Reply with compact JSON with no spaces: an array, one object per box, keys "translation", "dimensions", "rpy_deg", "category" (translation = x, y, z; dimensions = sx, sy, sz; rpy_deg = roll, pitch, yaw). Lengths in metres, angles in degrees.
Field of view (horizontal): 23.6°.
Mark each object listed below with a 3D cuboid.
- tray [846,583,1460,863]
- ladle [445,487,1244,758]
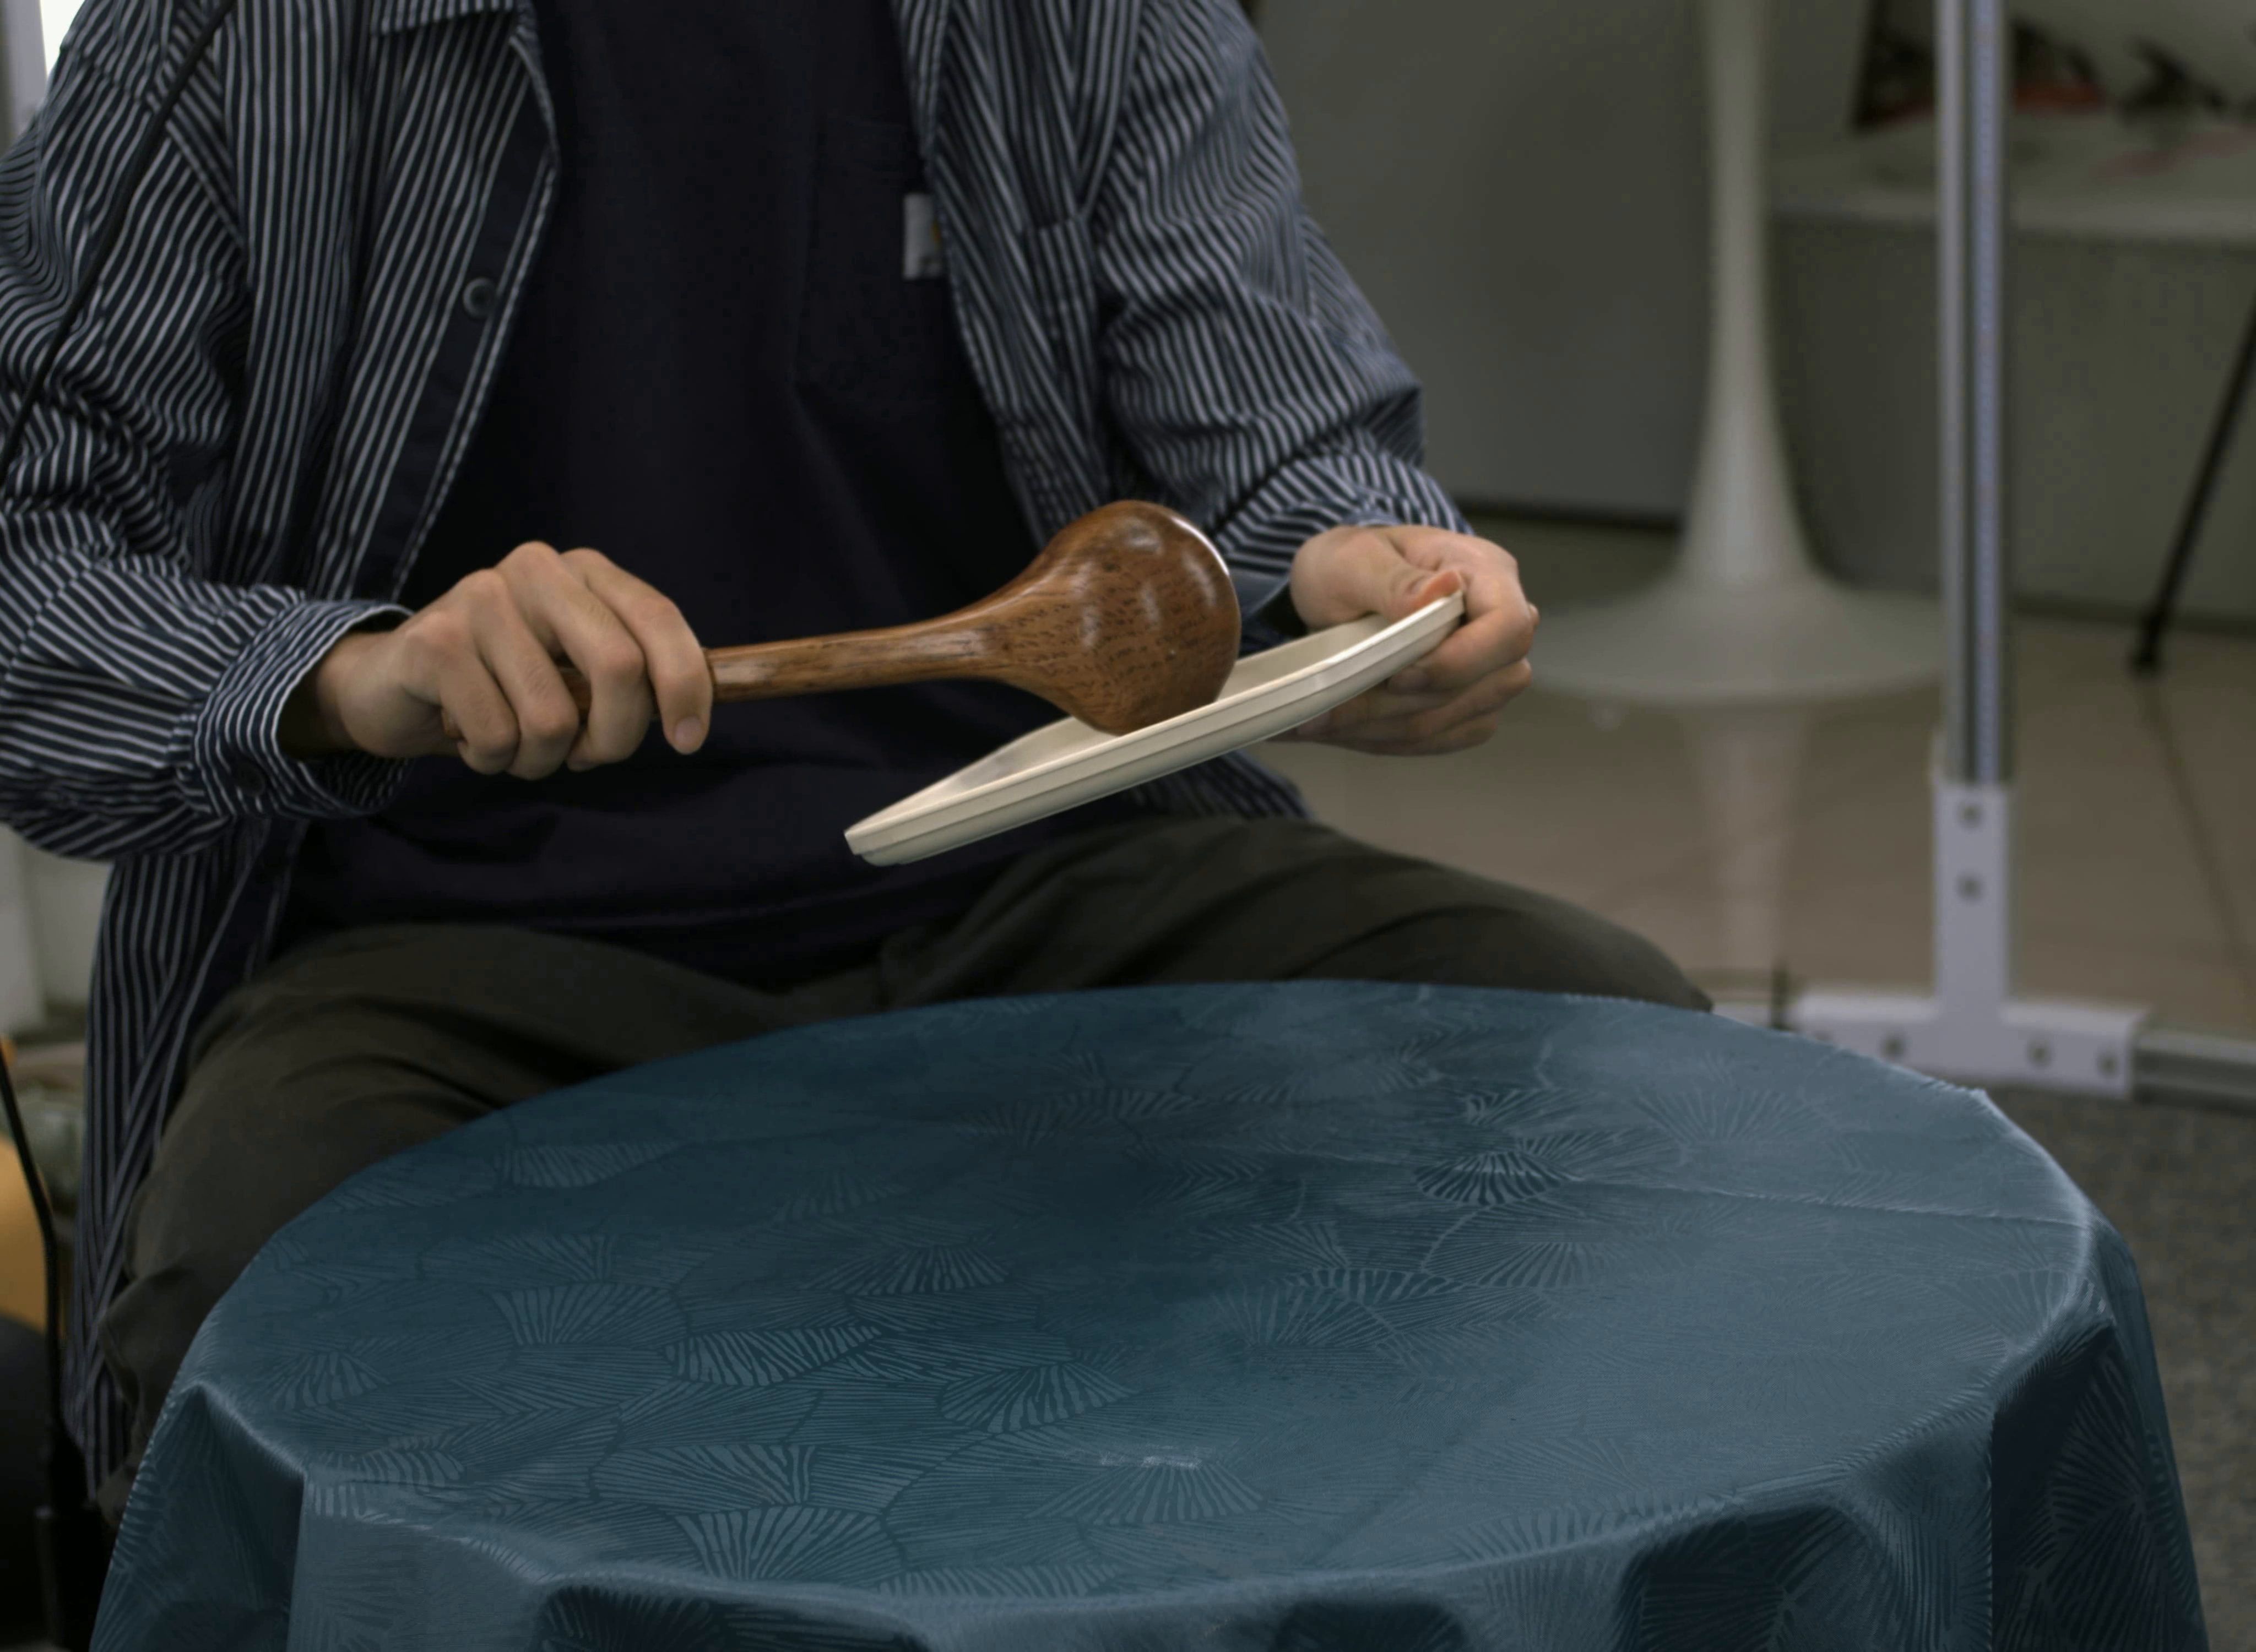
[{"translation":[0.014,-0.033,1.753],"dimensions":[0.171,0.017,0.237],"rpy_deg":[-20,3,19],"category":"tray"},{"translation":[-0.095,-0.058,1.843],"dimensions":[0.273,0.083,0.076],"rpy_deg":[-9,-5,17],"category":"ladle"}]
